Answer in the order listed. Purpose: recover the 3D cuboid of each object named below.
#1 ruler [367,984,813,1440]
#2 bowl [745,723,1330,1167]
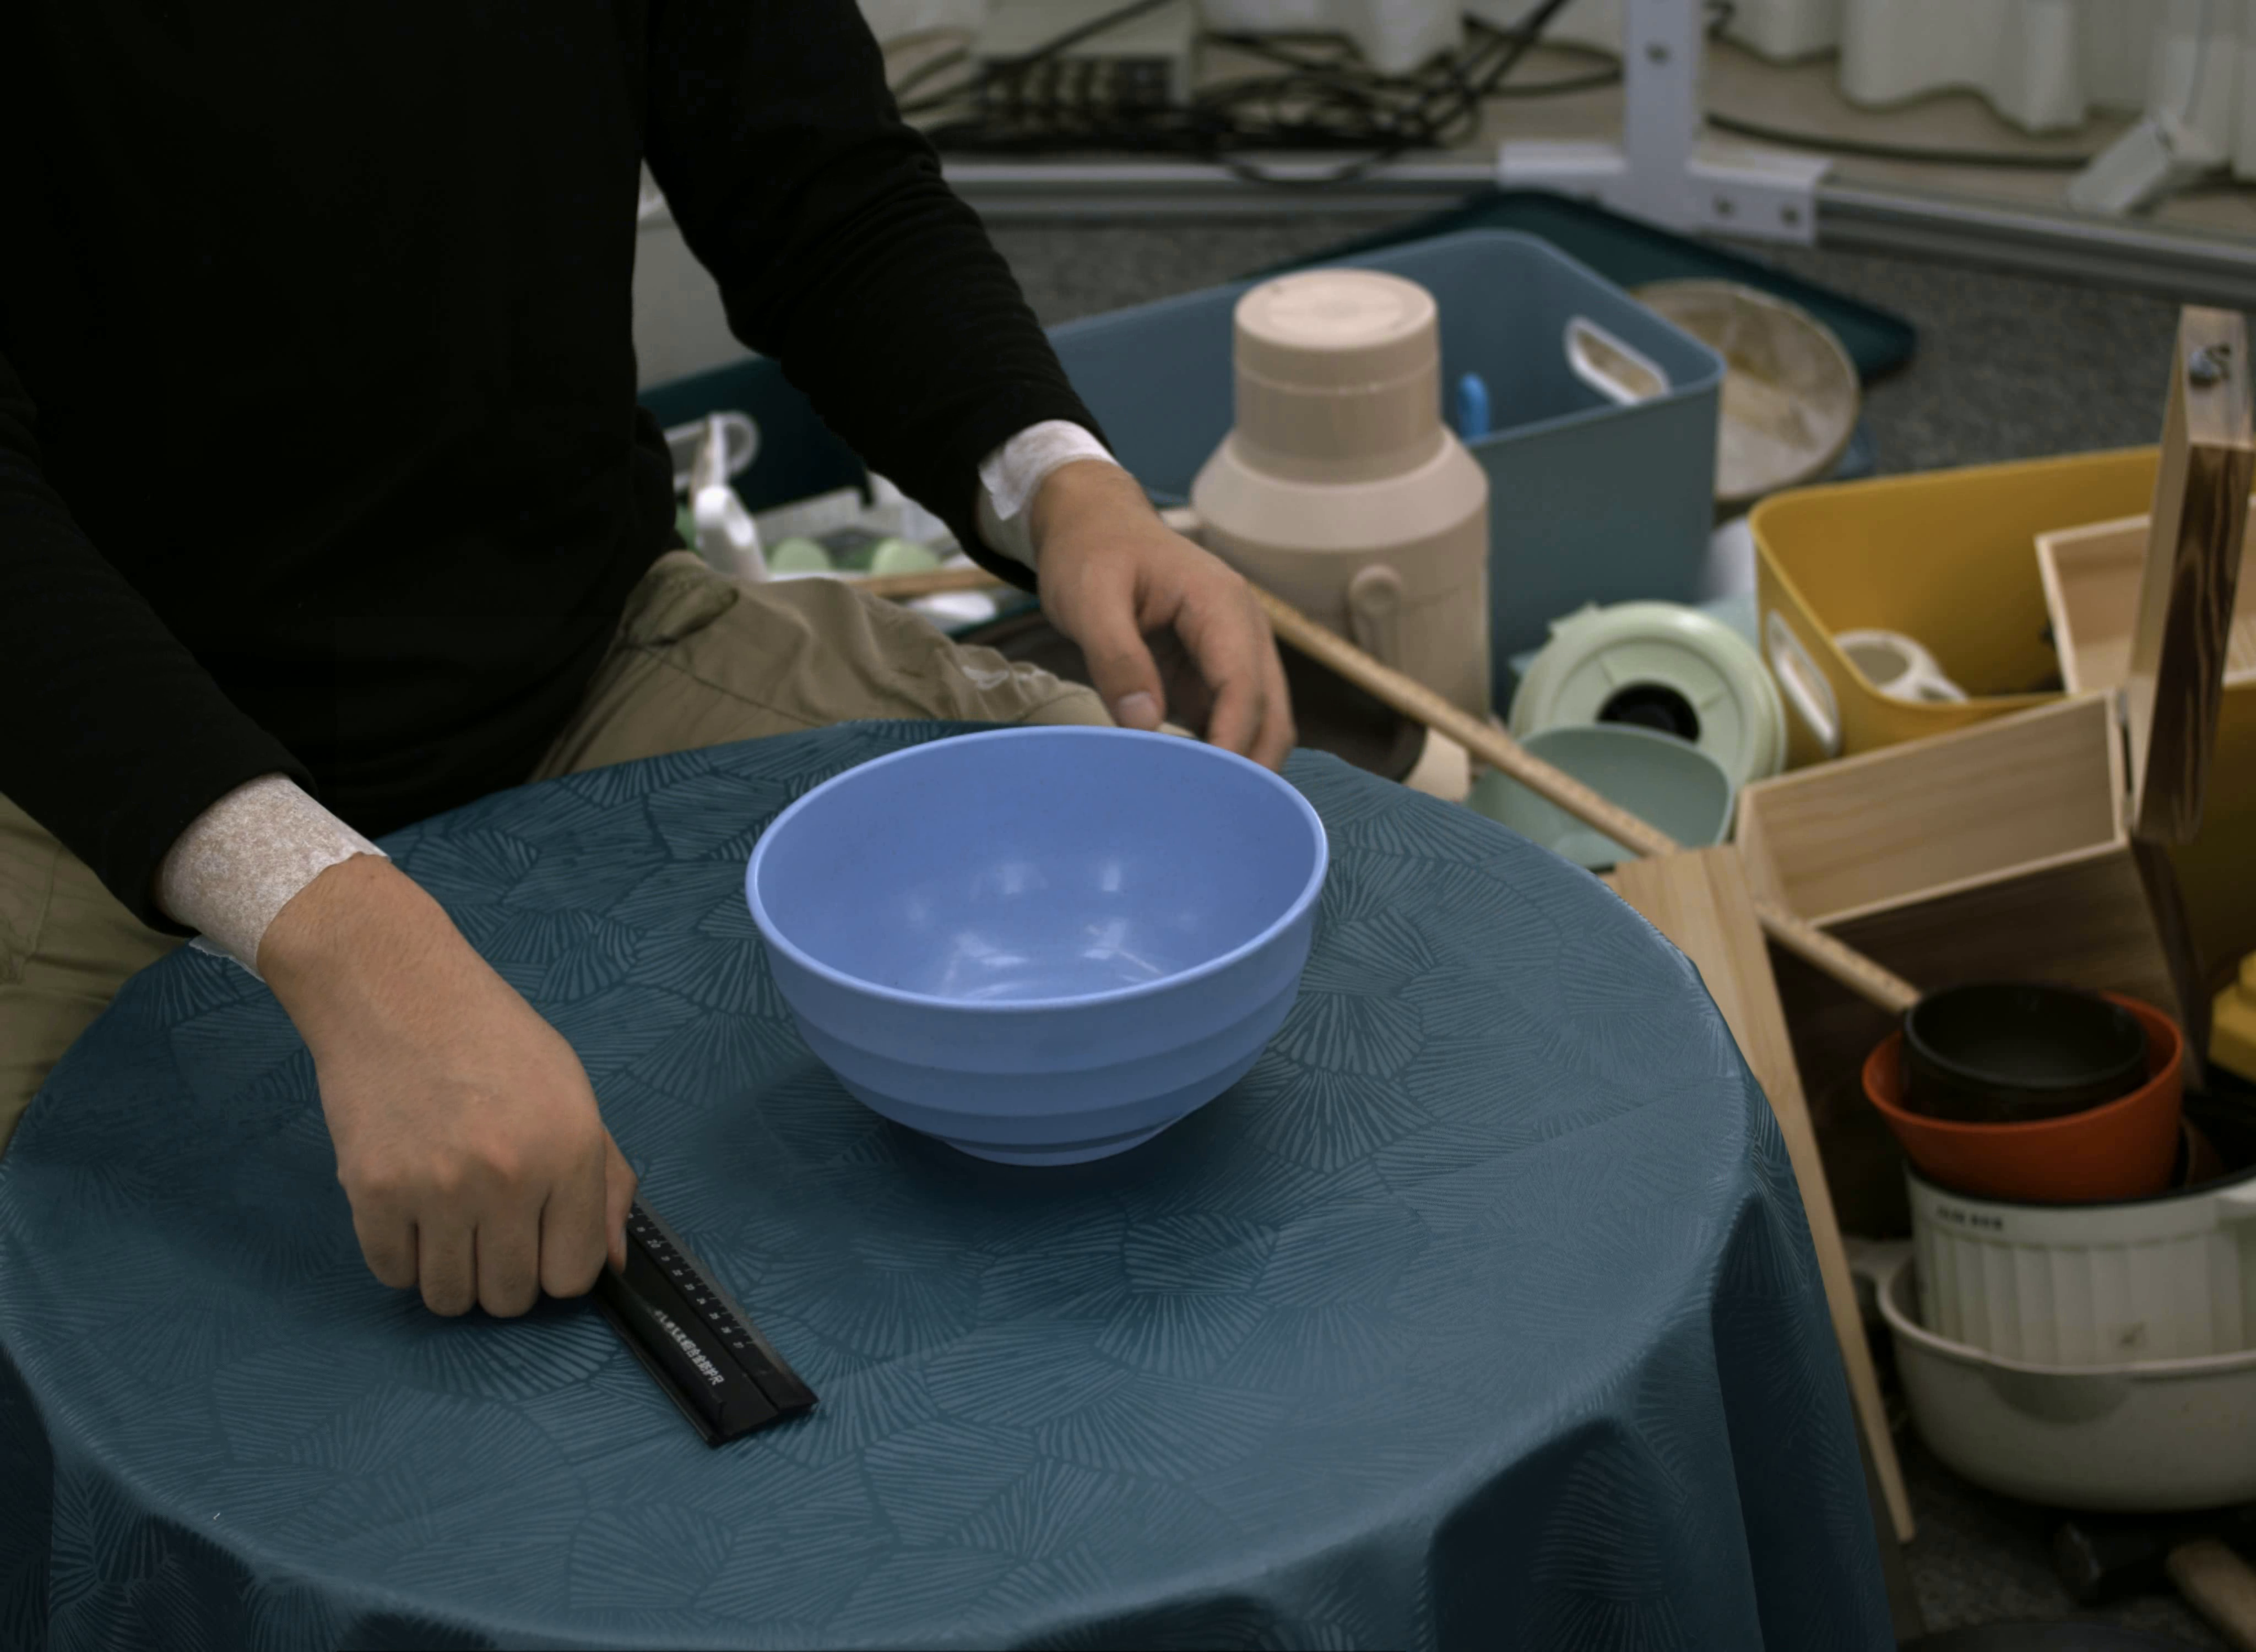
[{"bbox_3d":[-0.183,0.119,1.864,0.039,0.017,0.314,-15,30,-22],"label":"ruler"},{"bbox_3d":[-0.028,0.051,1.897,0.195,0.094,0.199,-2,28,1],"label":"bowl"}]
